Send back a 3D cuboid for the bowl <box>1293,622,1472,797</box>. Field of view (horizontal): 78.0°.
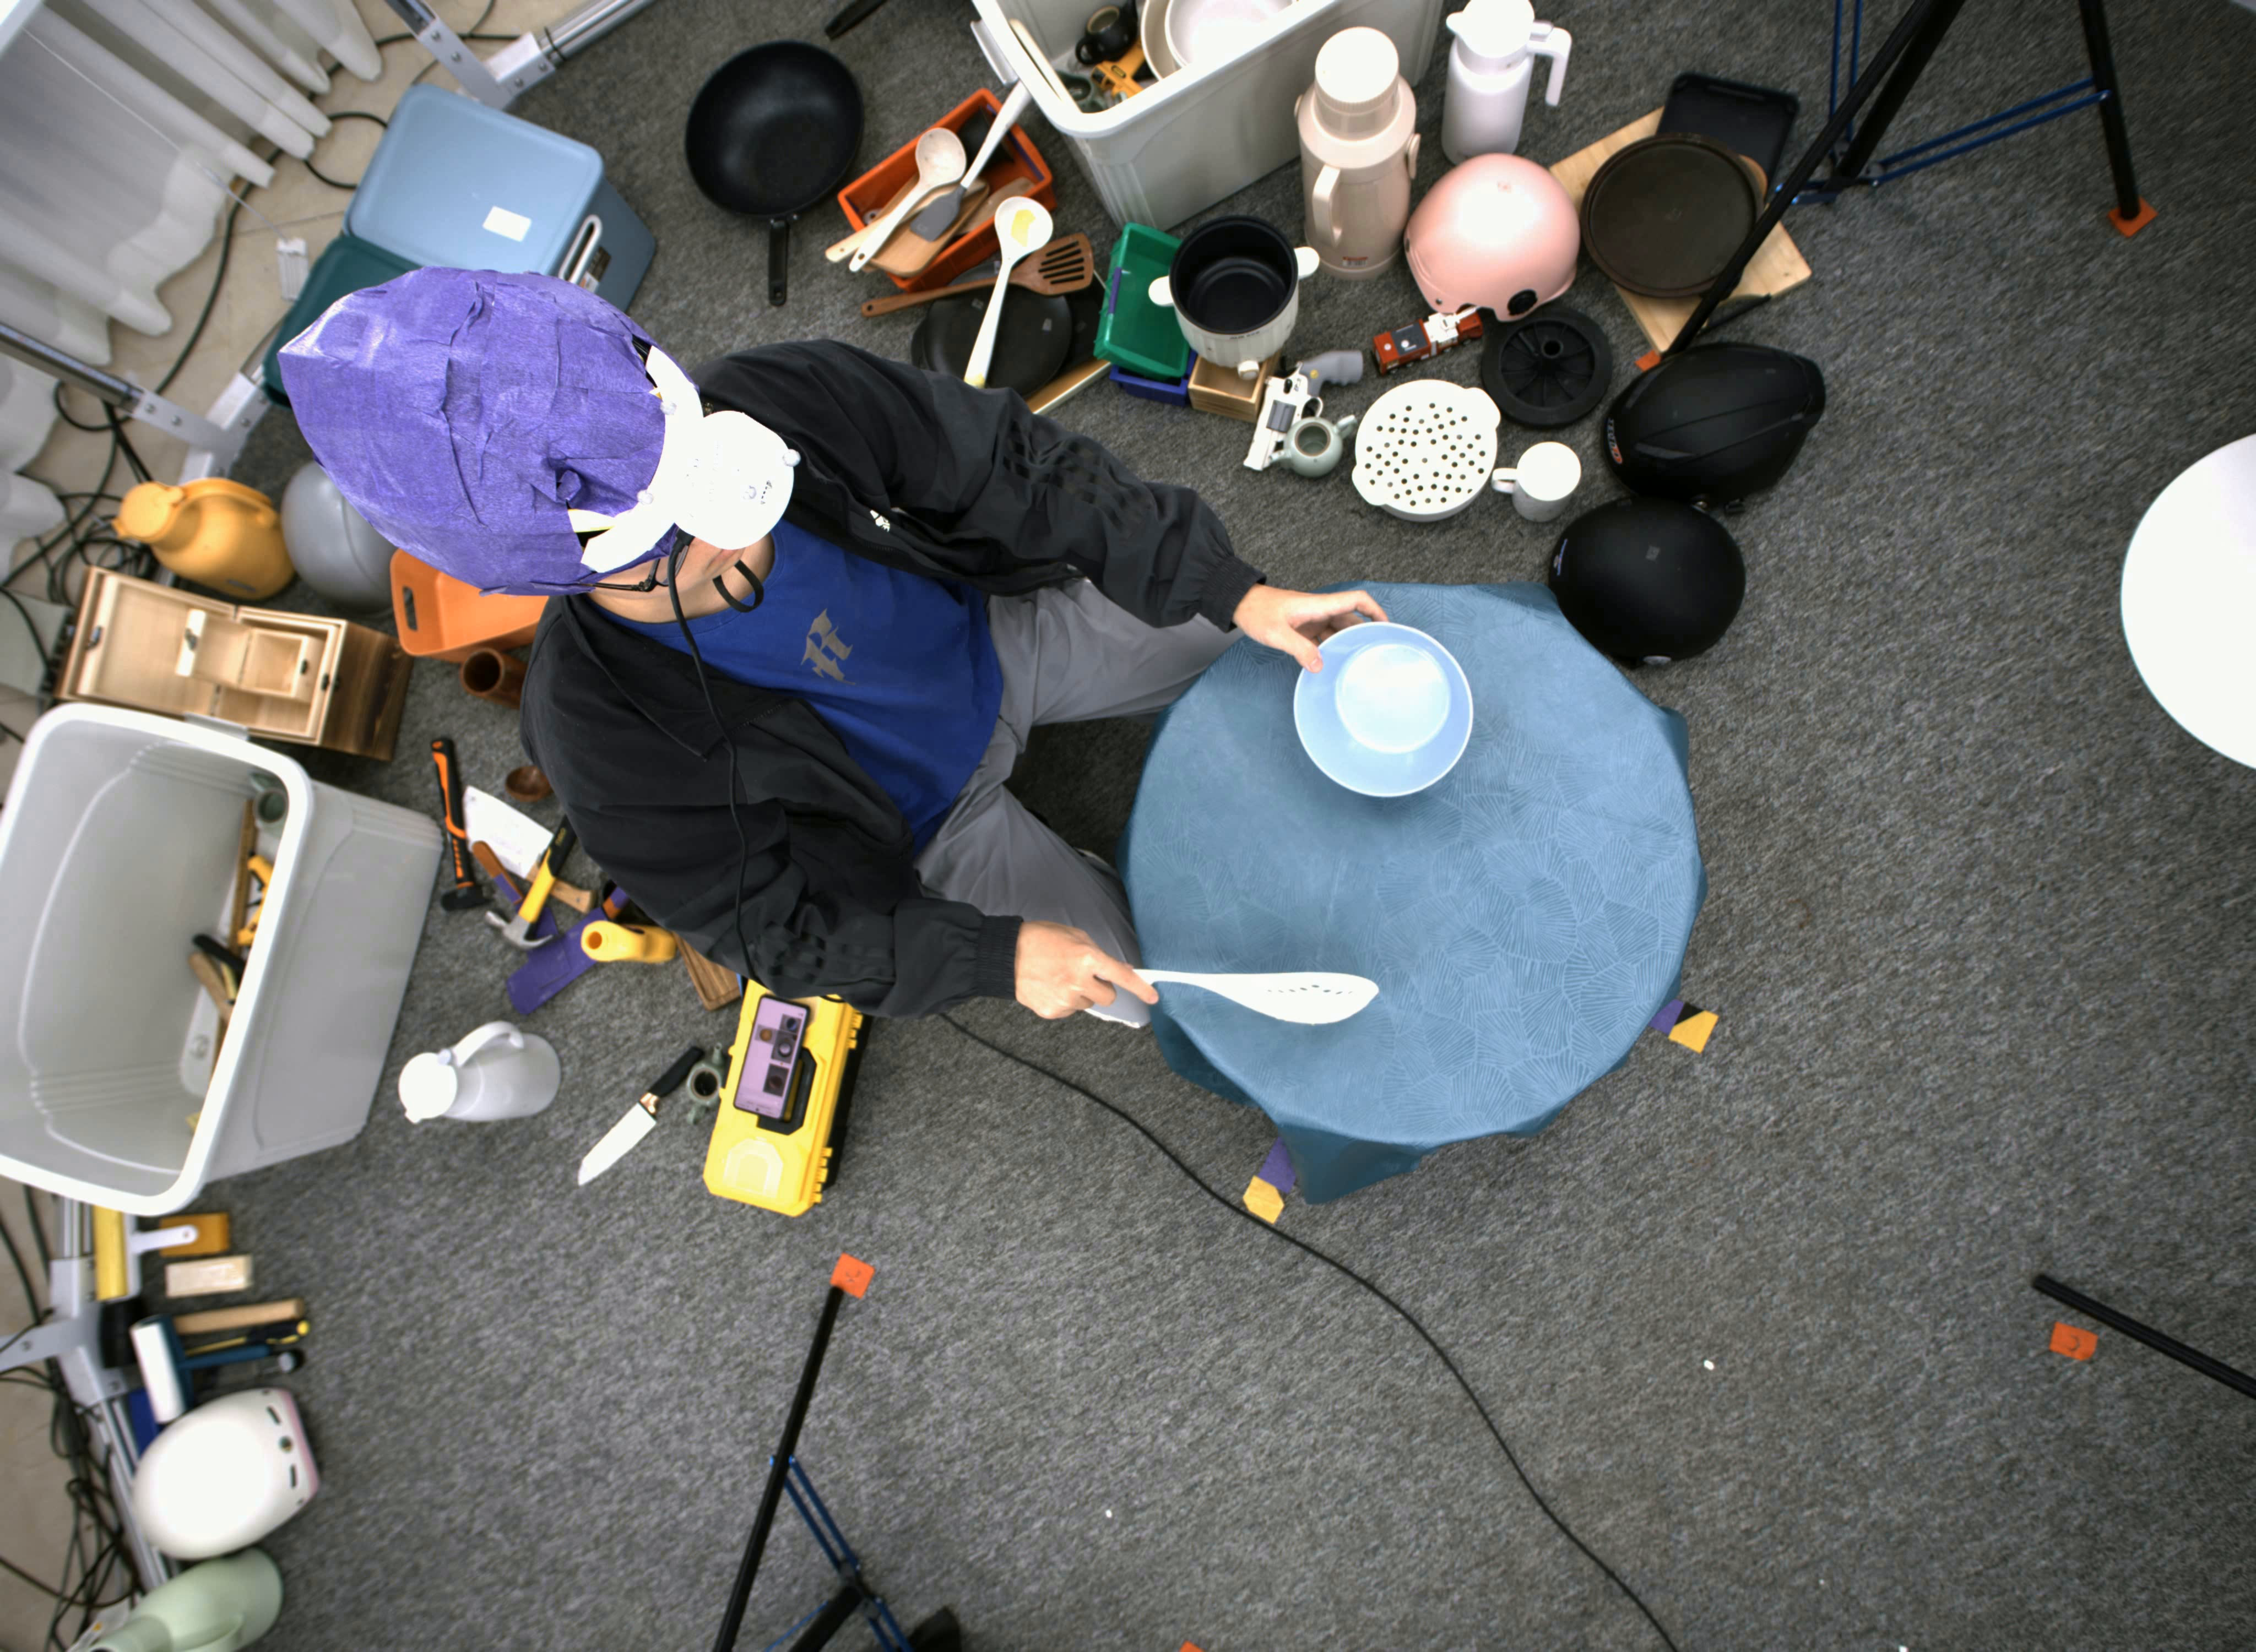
[{"bbox_3d":[0.257,-0.123,1.366,0.176,0.069,0.179,8,114,19],"label":"bowl"}]

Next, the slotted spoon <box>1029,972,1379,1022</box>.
[{"bbox_3d":[0.077,0.165,1.398,0.348,0.138,0.050,5,77,4],"label":"slotted spoon"}]
